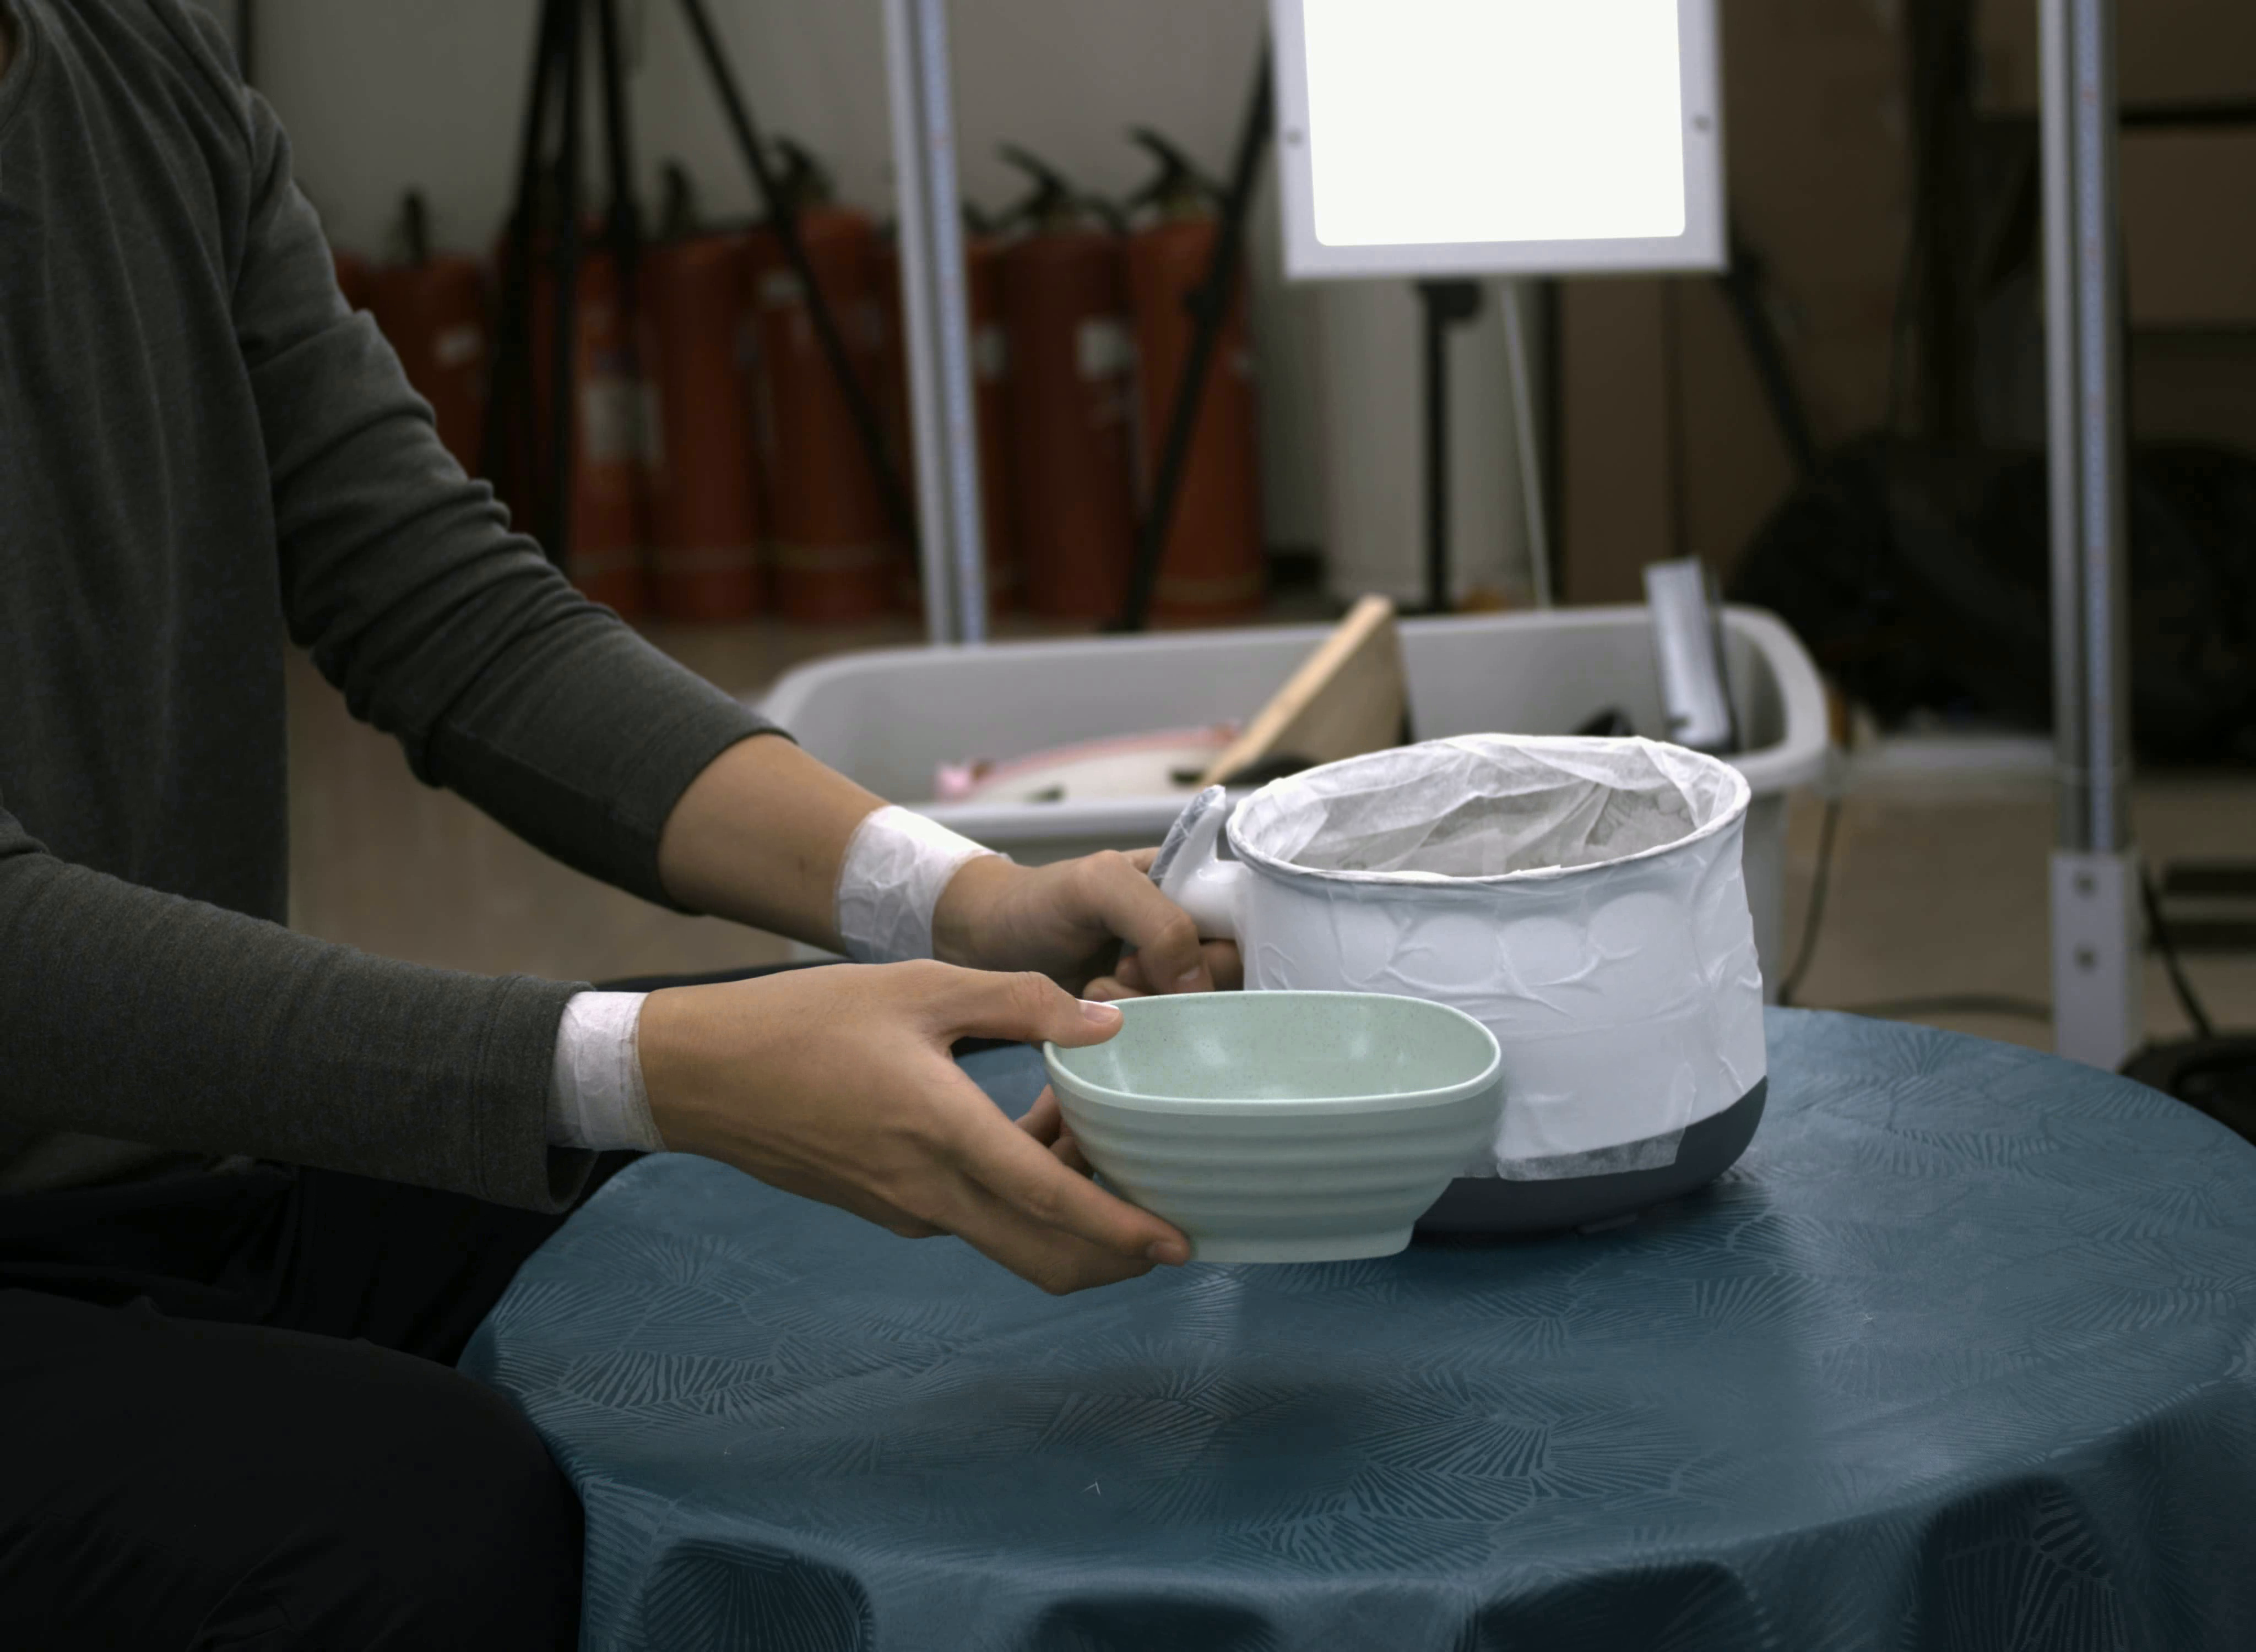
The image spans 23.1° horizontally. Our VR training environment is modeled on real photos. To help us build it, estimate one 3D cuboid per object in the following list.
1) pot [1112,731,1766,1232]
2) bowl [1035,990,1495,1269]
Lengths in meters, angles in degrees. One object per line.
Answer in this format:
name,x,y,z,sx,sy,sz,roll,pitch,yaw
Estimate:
pot,0.101,0.052,1.872,0.237,0.137,0.175,1,17,23
bowl,0.041,0.094,1.664,0.151,0.059,0.151,1,12,-2
